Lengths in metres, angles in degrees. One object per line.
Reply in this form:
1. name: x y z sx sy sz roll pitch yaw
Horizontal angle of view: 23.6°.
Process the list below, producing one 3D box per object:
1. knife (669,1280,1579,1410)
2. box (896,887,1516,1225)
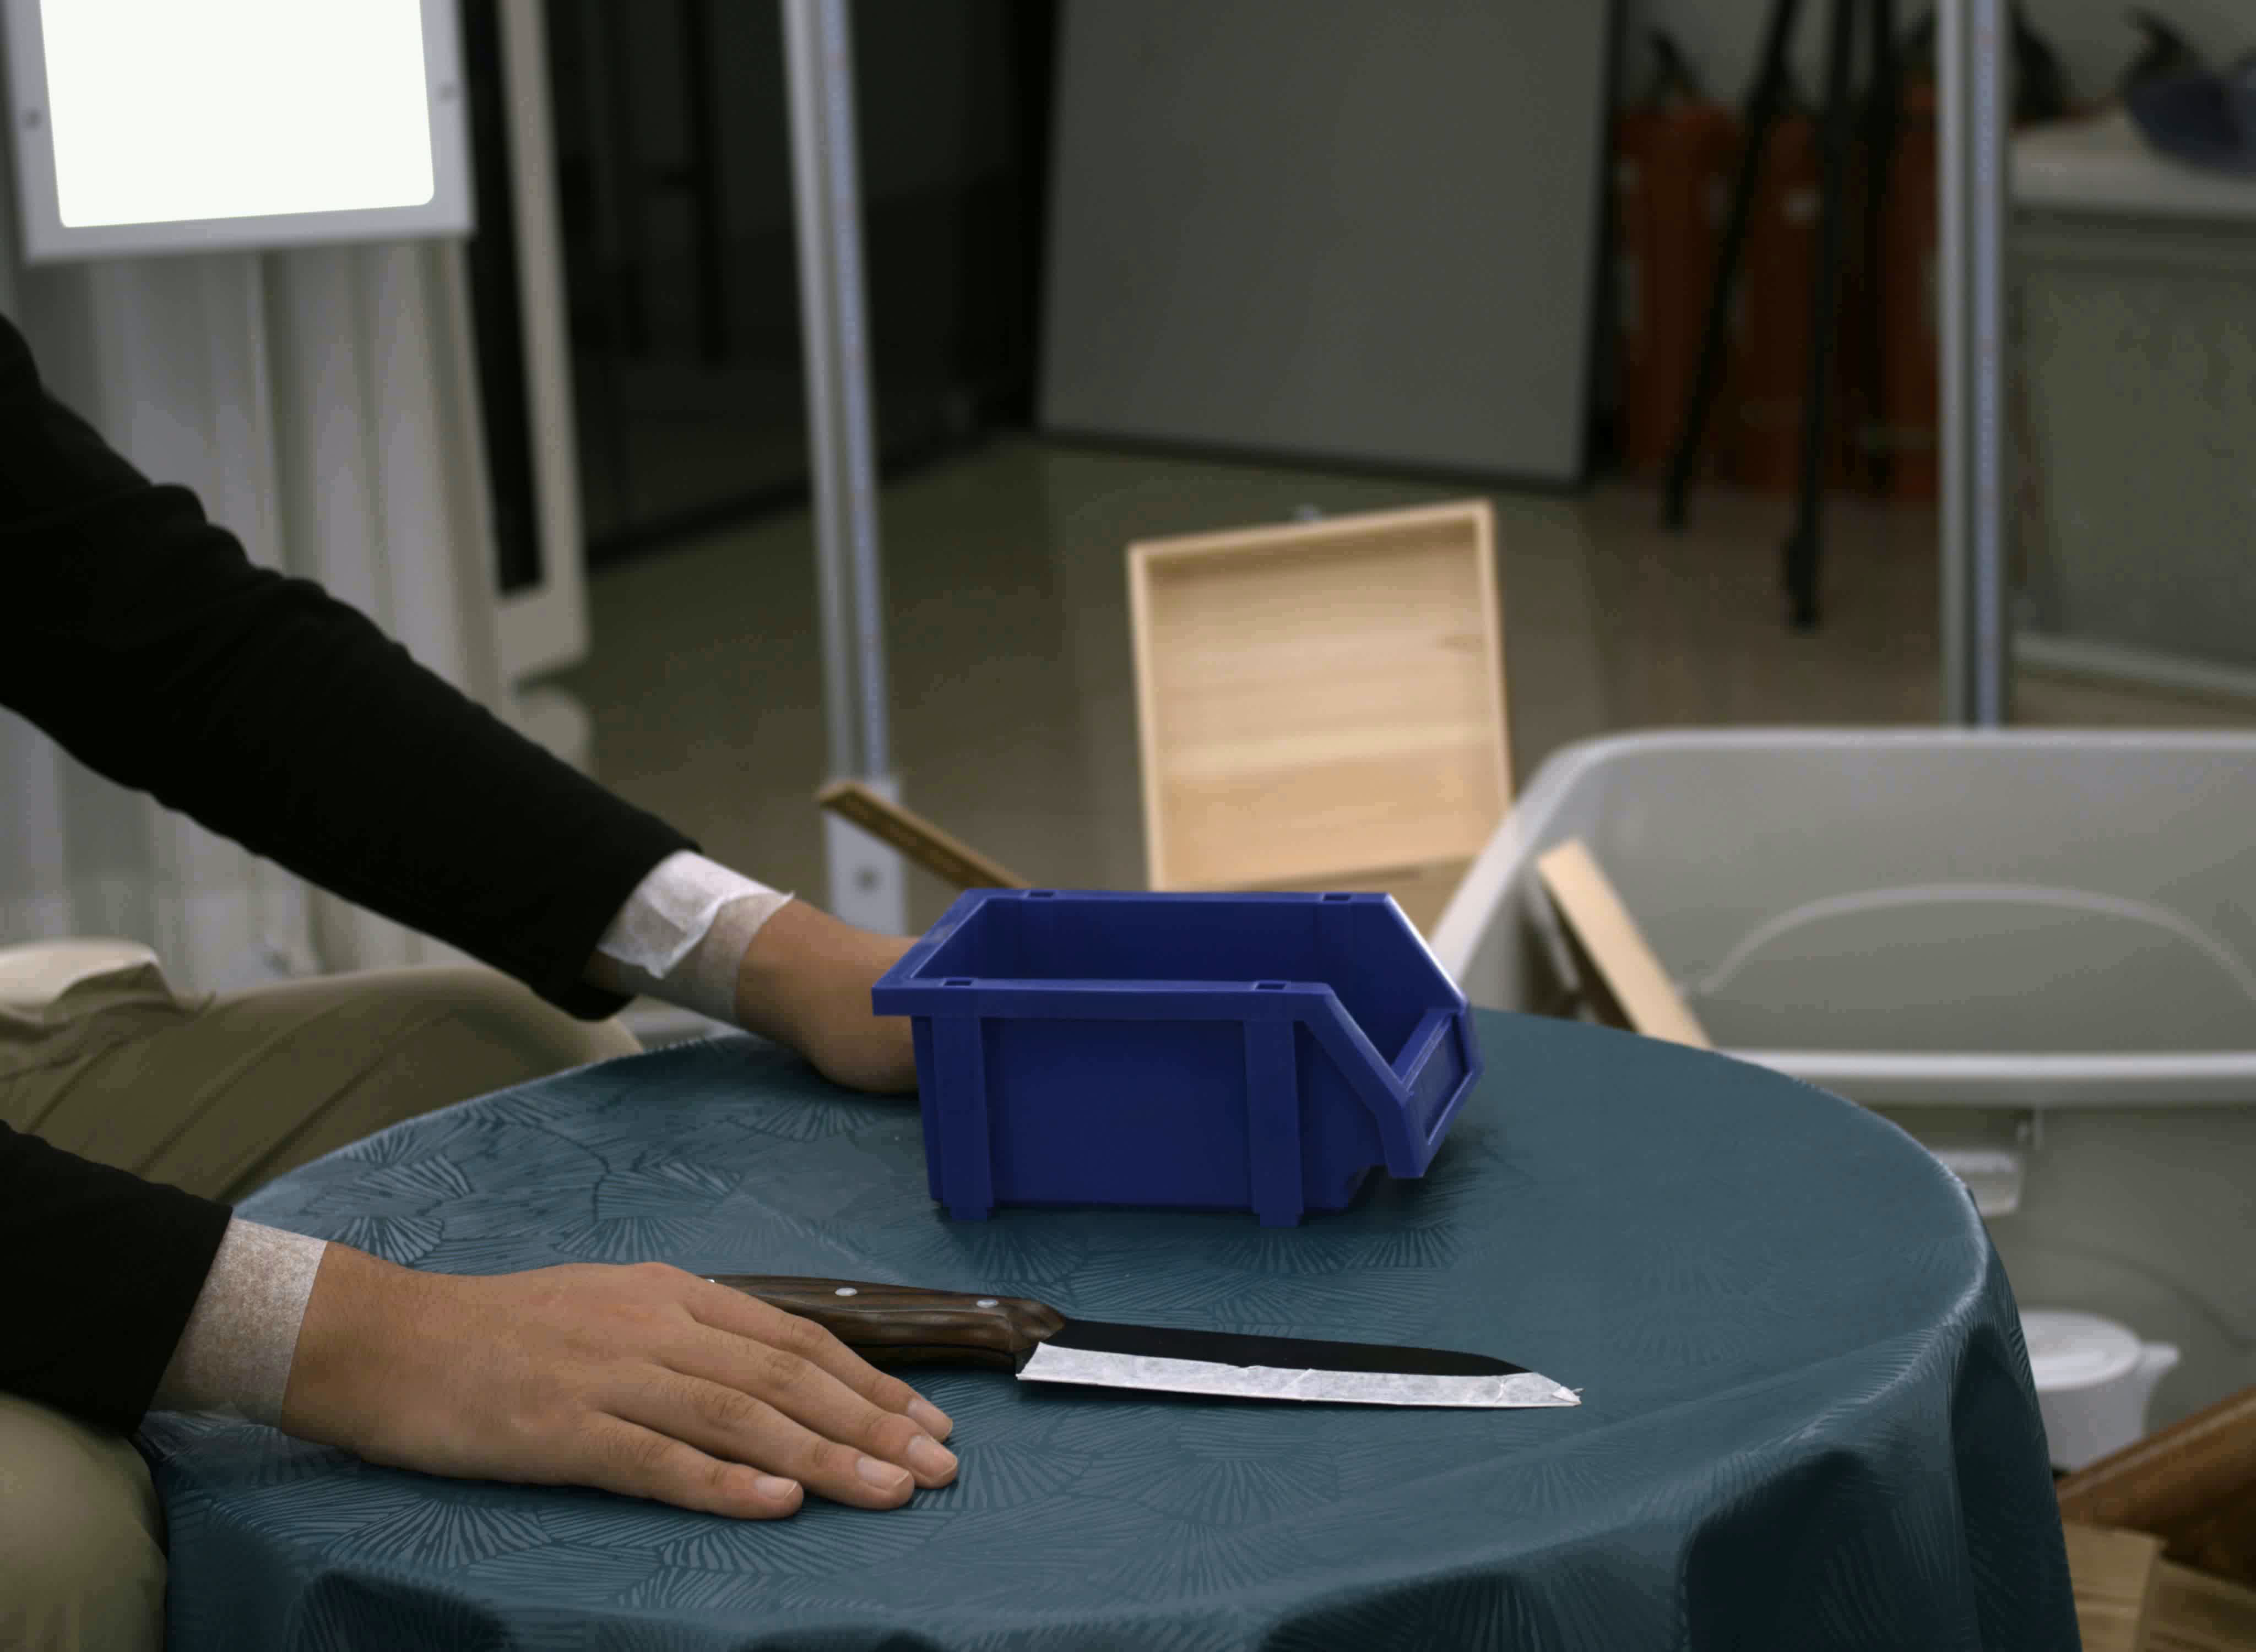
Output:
1. knife: -0.005 0.156 1.598 0.288 0.020 0.050 3 20 19
2. box: 0.029 0.074 1.780 0.179 0.083 0.123 -2 13 18
